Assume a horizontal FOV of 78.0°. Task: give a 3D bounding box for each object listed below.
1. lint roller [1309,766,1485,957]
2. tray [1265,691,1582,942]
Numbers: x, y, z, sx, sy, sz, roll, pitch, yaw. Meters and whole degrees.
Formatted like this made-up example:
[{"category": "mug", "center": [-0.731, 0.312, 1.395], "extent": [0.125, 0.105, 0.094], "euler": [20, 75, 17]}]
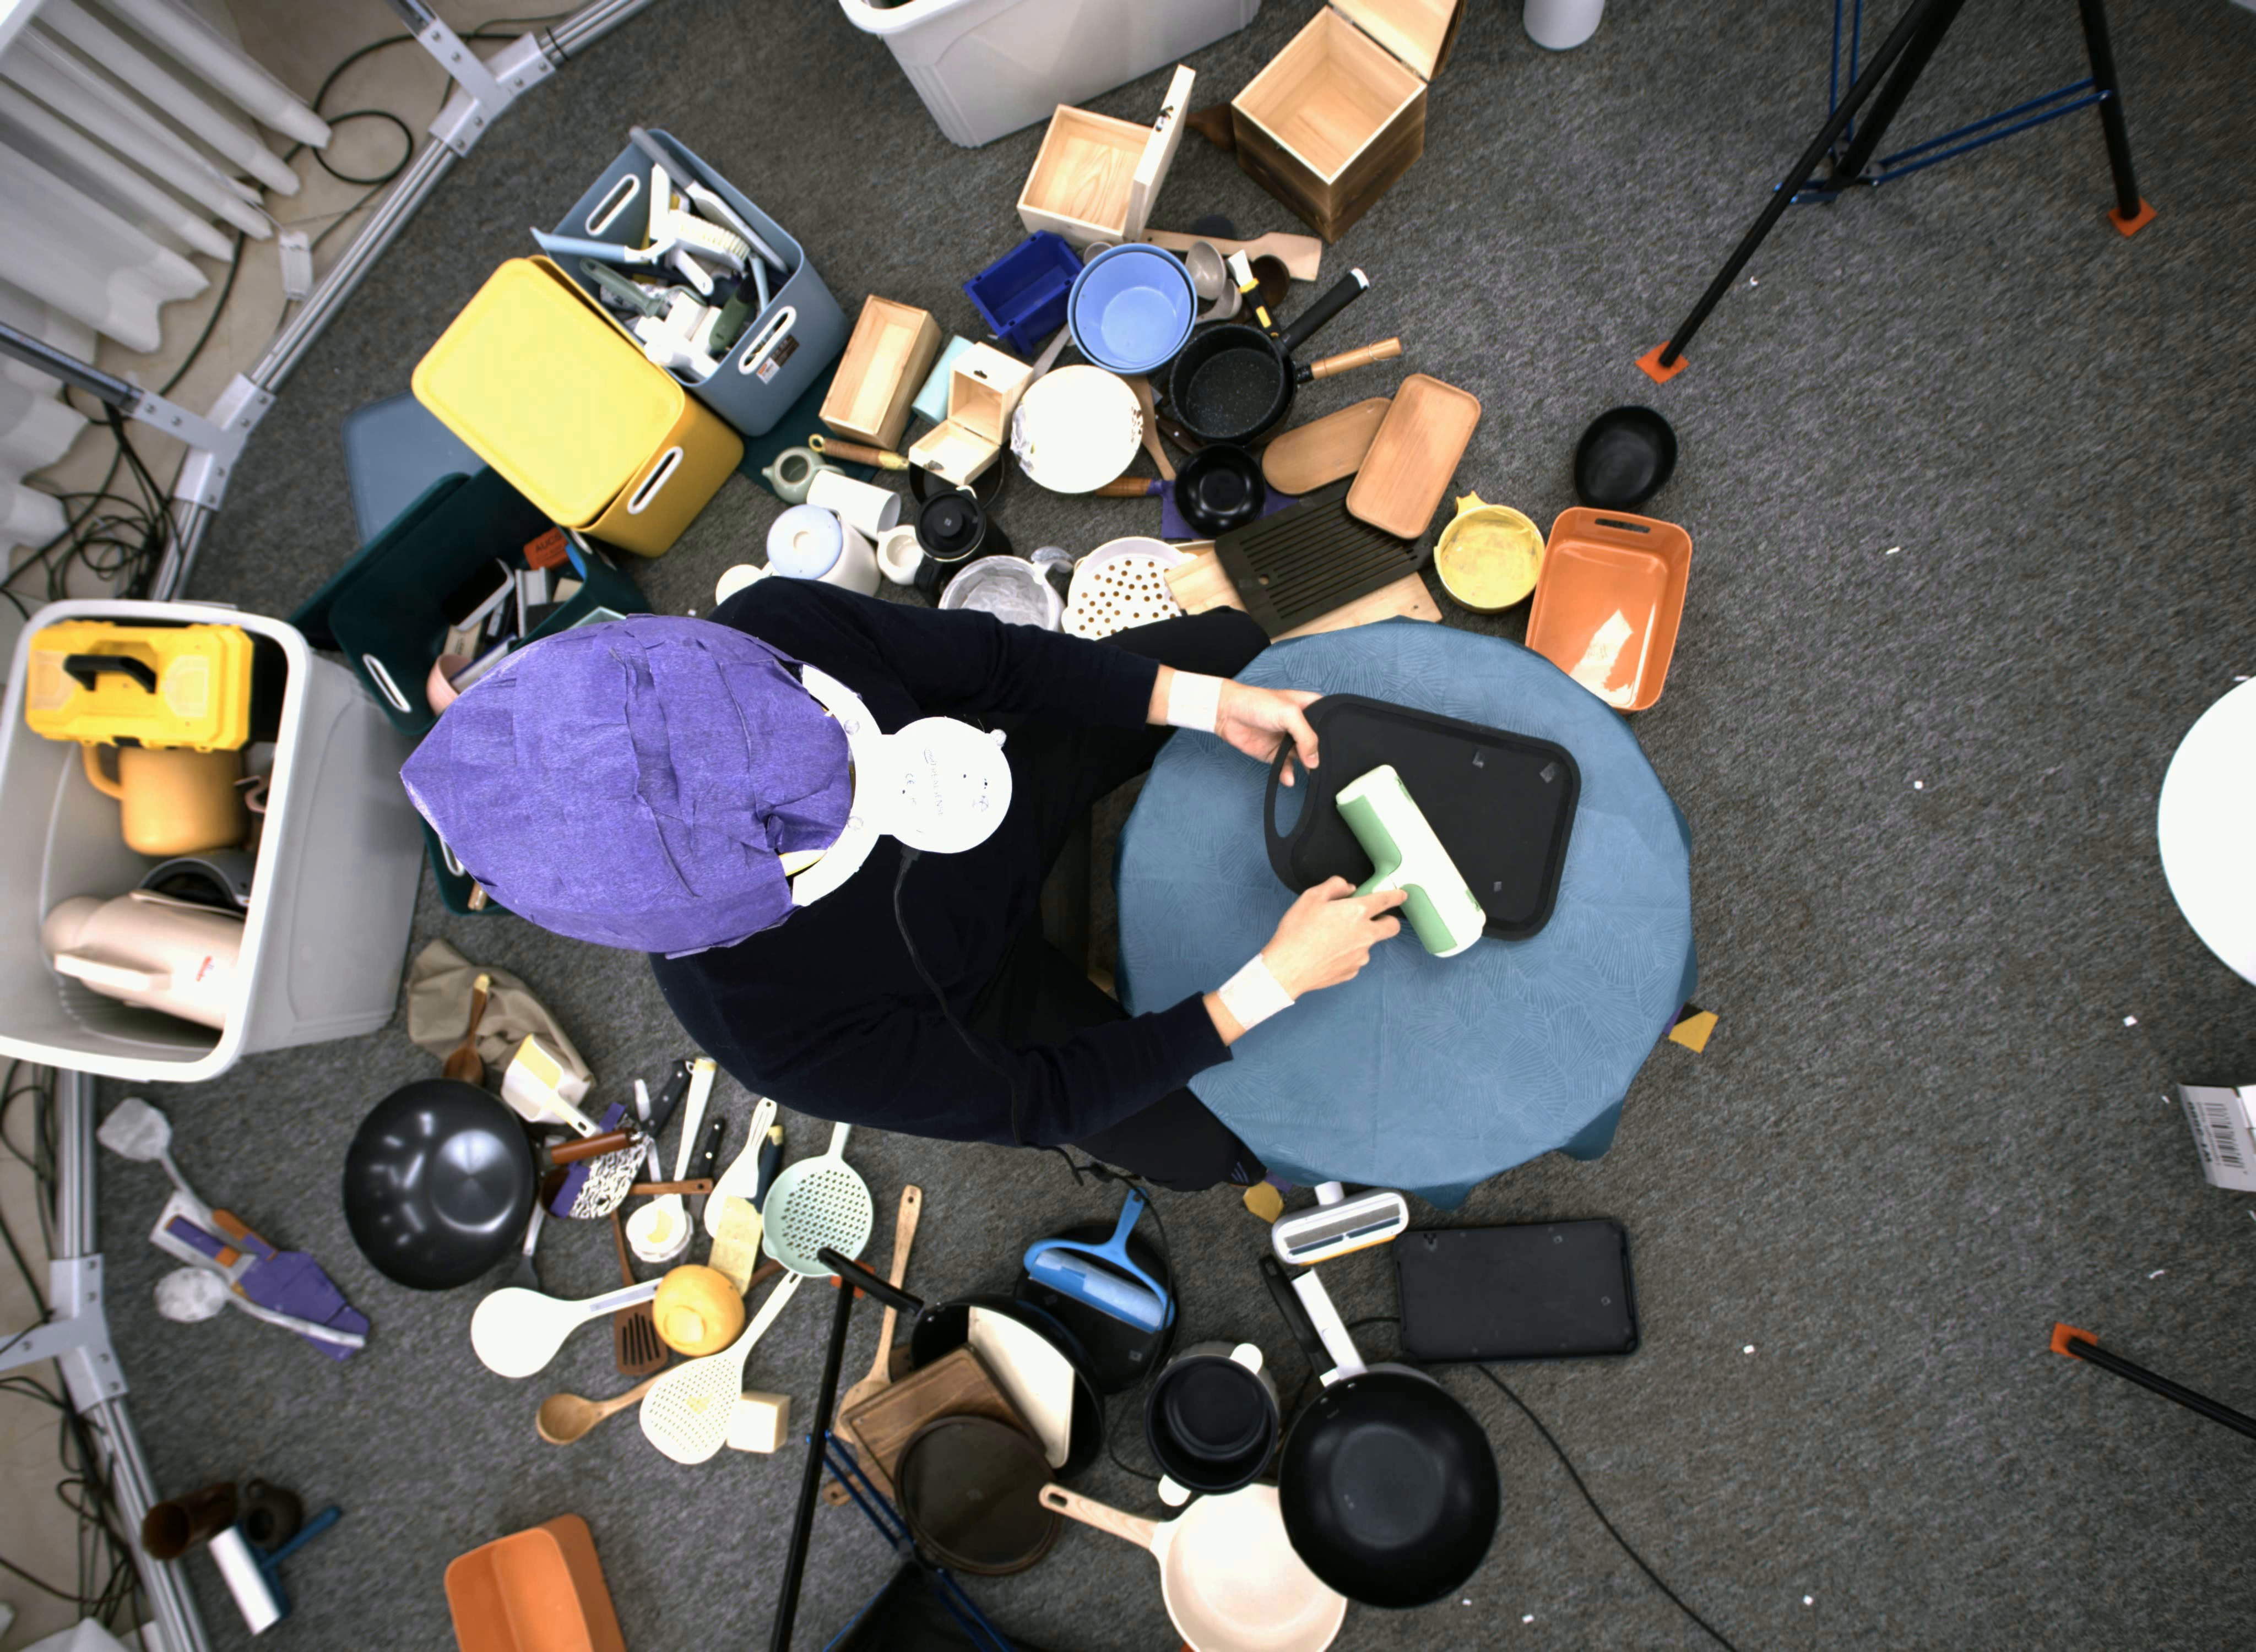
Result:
[{"category": "lint roller", "center": [0.249, 0.062, 1.325], "extent": [0.179, 0.083, 0.199], "euler": [-40, 100, -33]}, {"category": "tray", "center": [0.296, -0.011, 1.384], "extent": [0.325, 0.010, 0.211], "euler": [13, 94, -9]}]
